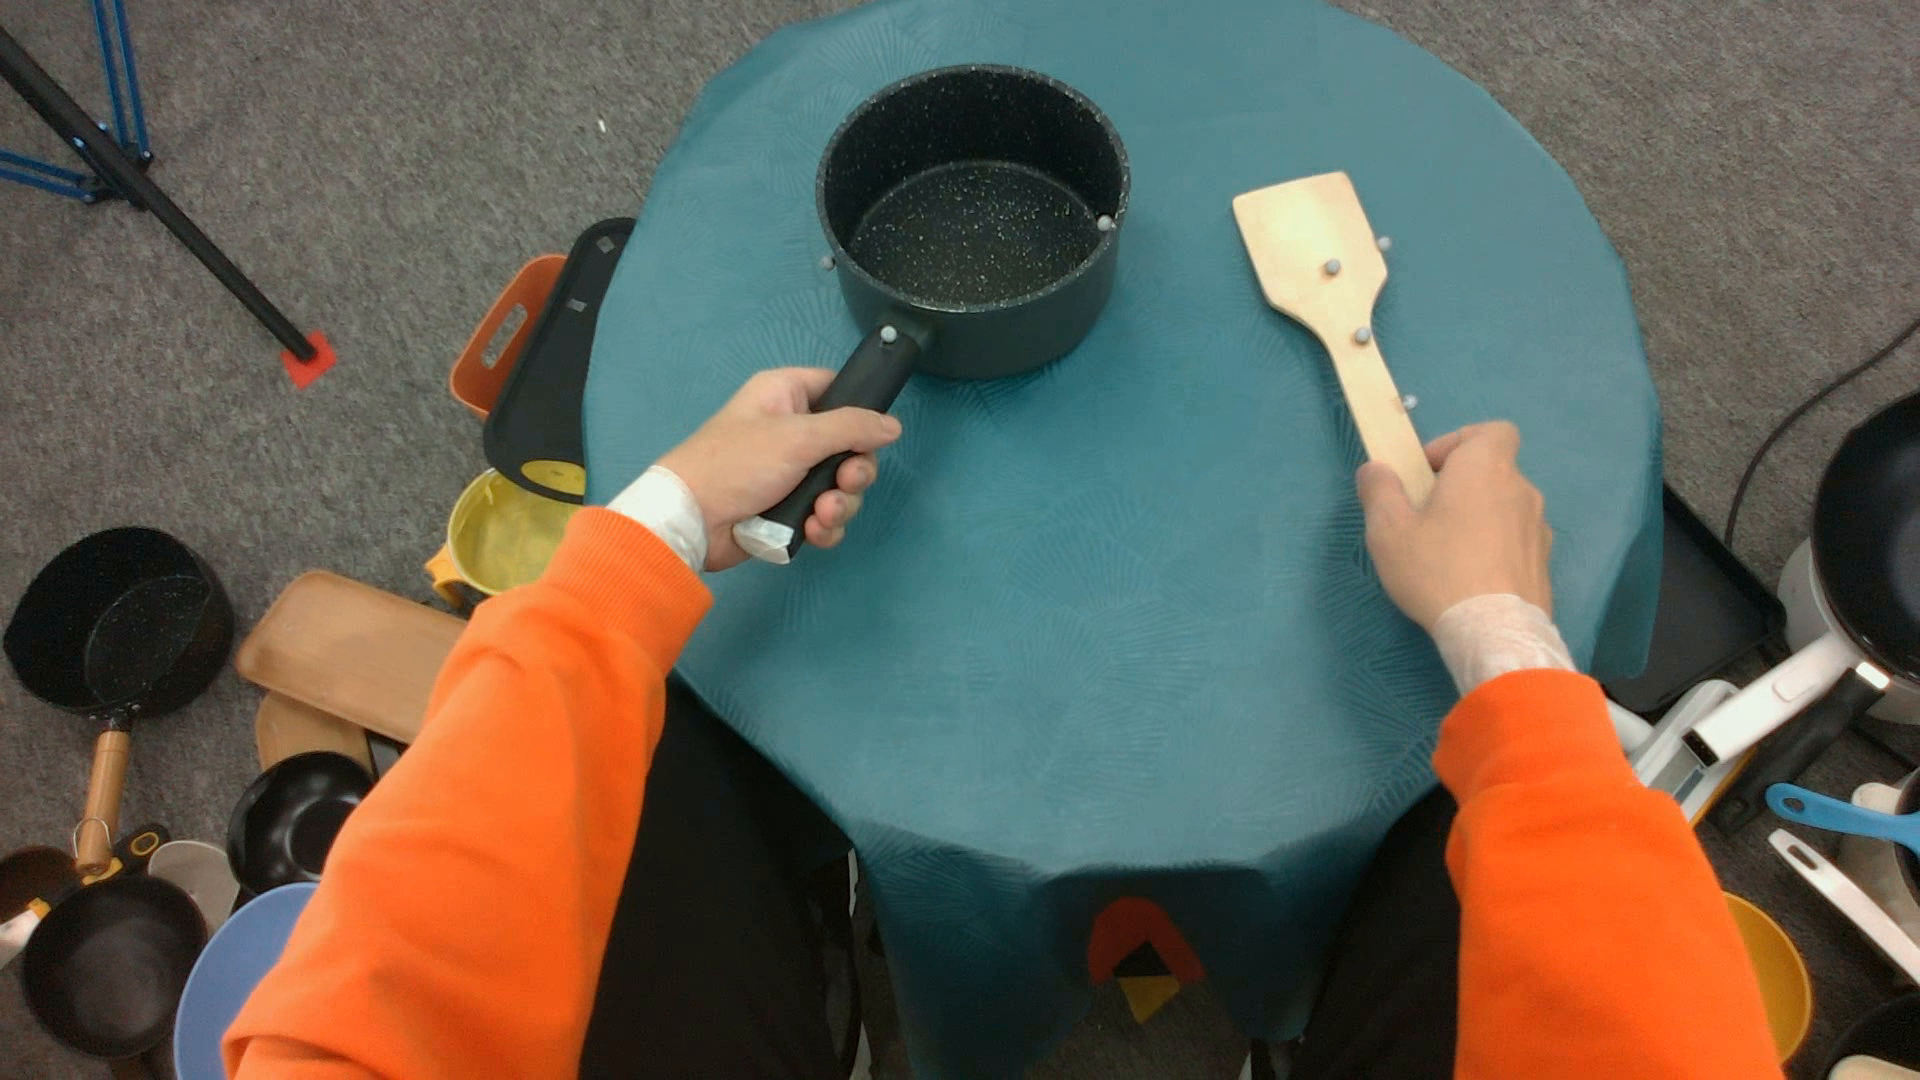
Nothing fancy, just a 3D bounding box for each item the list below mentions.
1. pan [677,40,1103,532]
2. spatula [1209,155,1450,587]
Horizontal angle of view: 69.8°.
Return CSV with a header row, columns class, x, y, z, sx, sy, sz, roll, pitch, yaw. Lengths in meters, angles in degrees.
class,x,y,z,sx,sy,sz,roll,pitch,yaw
pan,-0.043,-0.127,0.739,0.172,0.086,0.330,24,65,13
spatula,0.205,-0.101,0.744,0.072,0.010,0.294,-12,58,2
